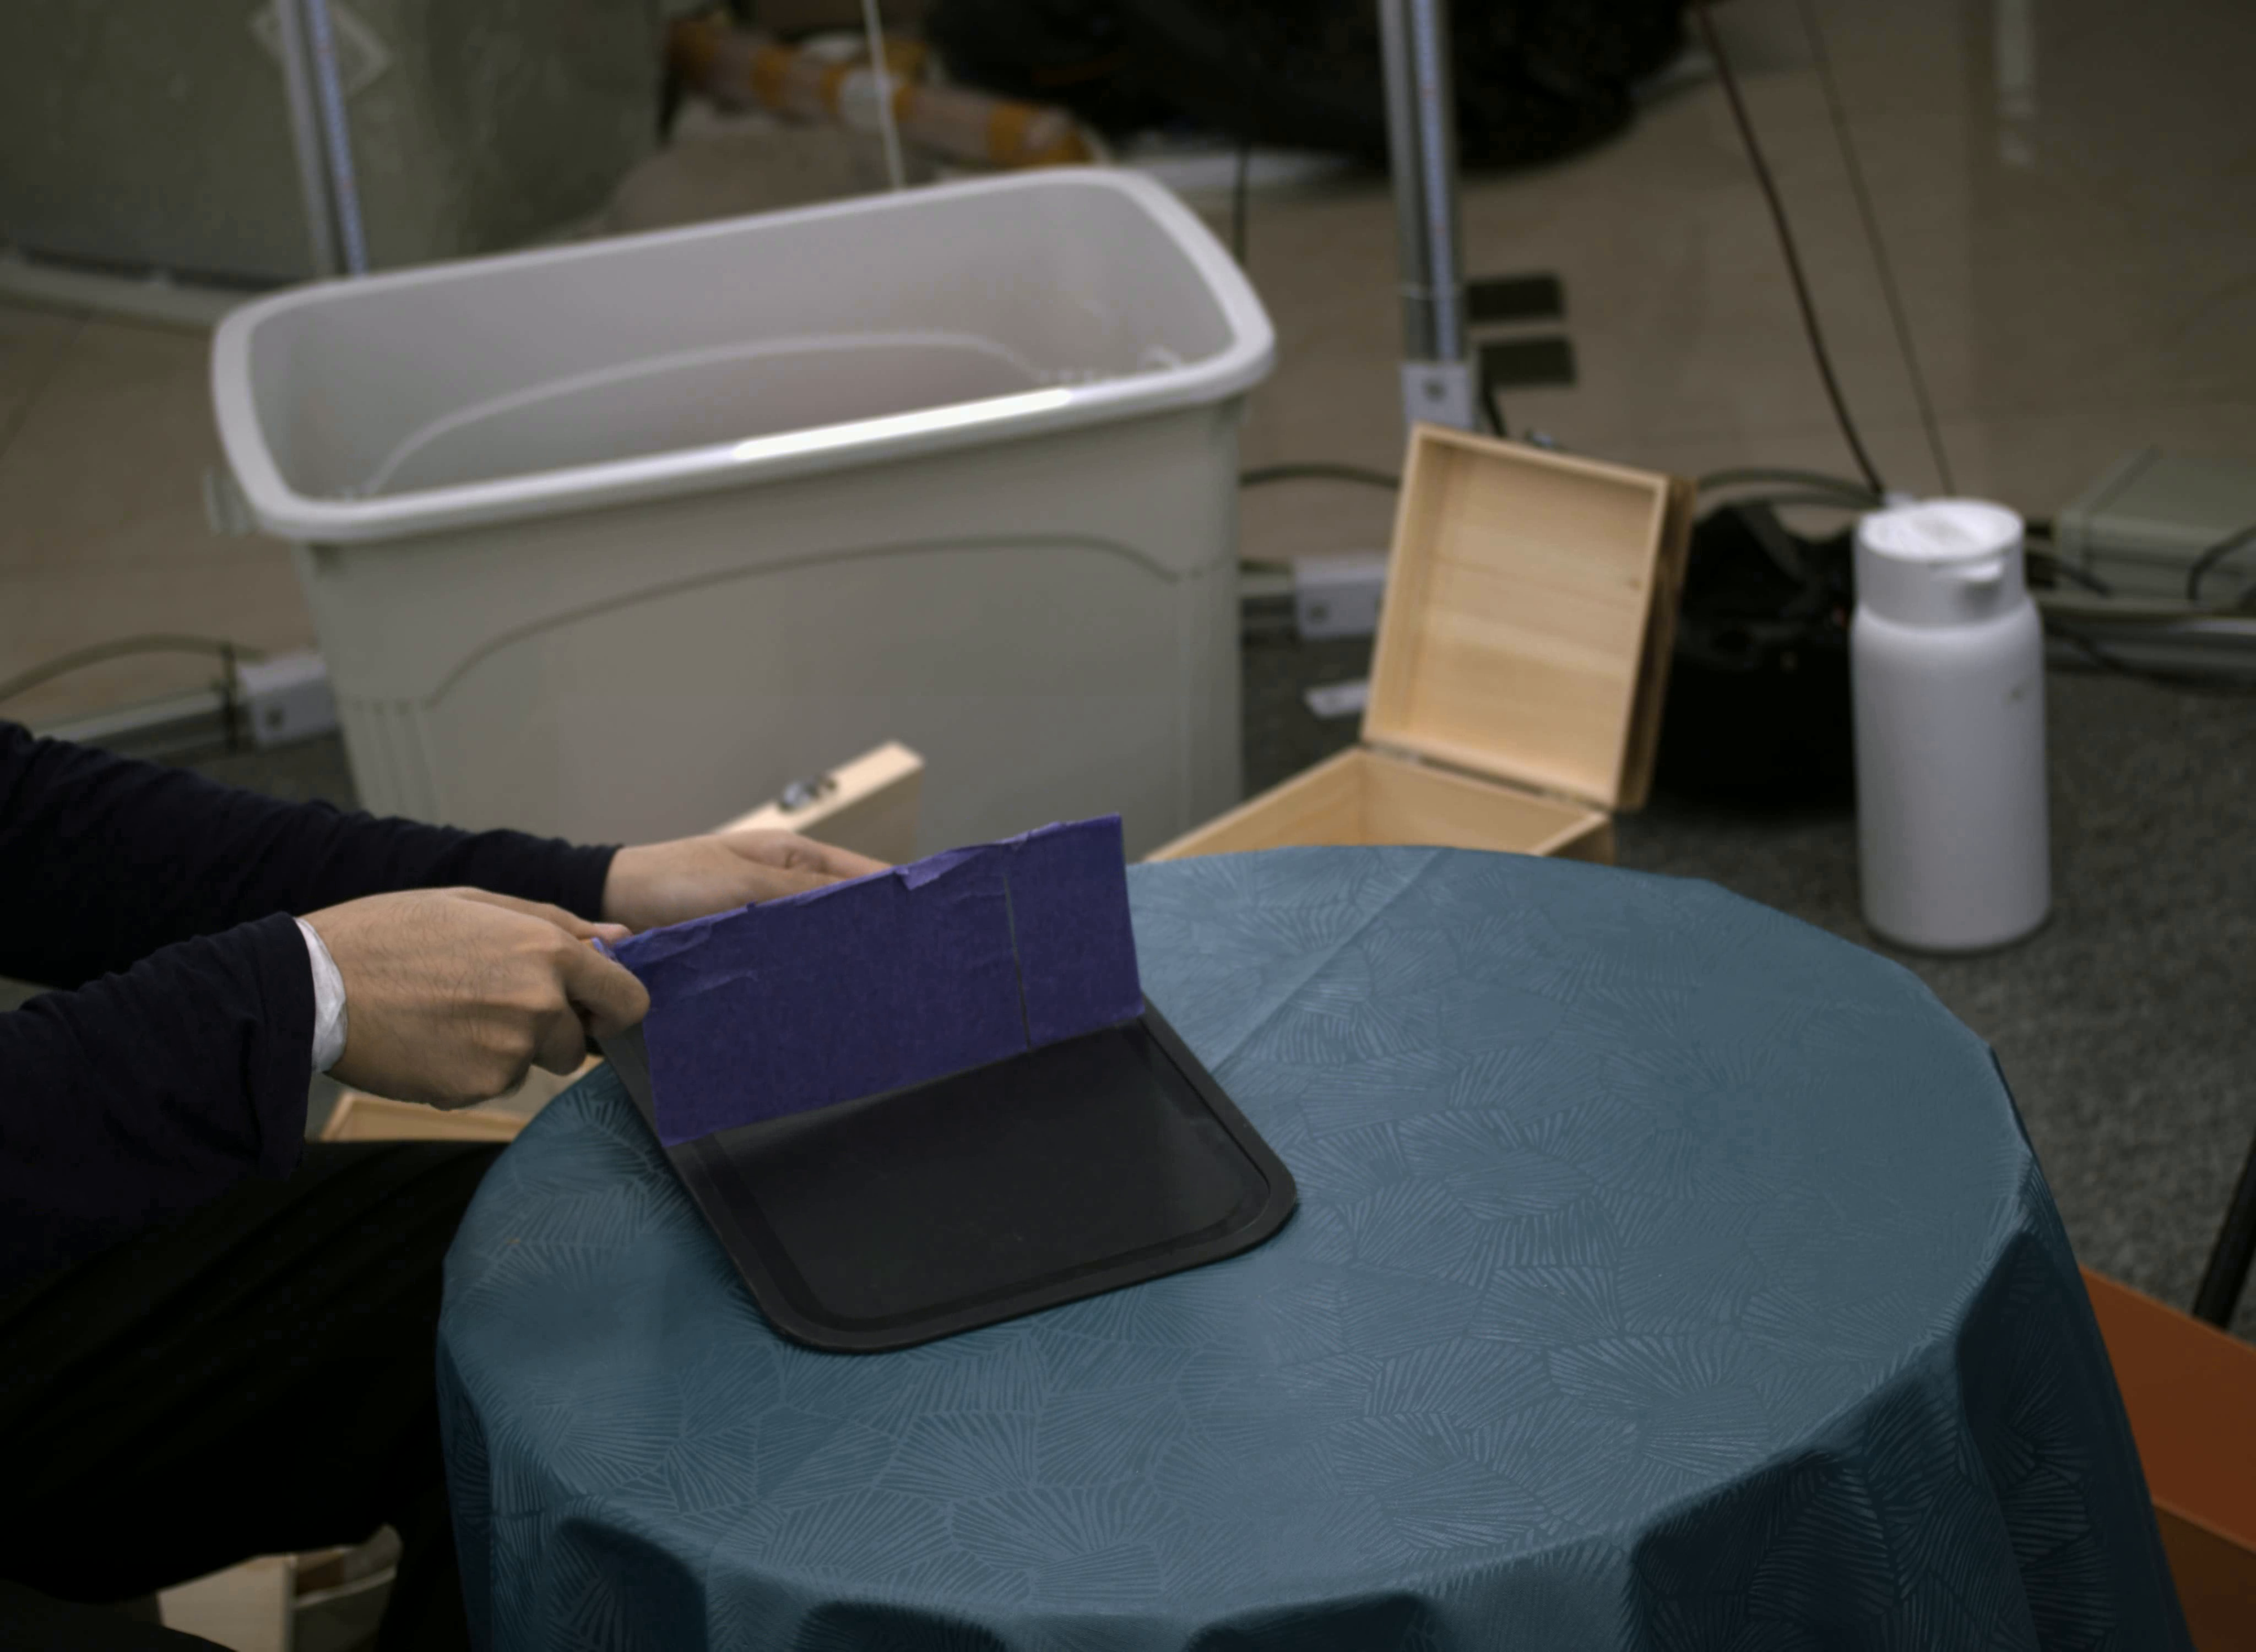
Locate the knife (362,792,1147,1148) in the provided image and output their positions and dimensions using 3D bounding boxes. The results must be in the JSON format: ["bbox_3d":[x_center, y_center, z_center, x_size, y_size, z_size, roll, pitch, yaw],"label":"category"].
[{"bbox_3d":[-0.135,0.071,2.171,0.314,0.105,0.032,-14,23,-19],"label":"knife"}]

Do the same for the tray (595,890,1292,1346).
[{"bbox_3d":[-0.081,0.104,2.209,0.210,0.010,0.321,-13,31,-16],"label":"tray"}]
